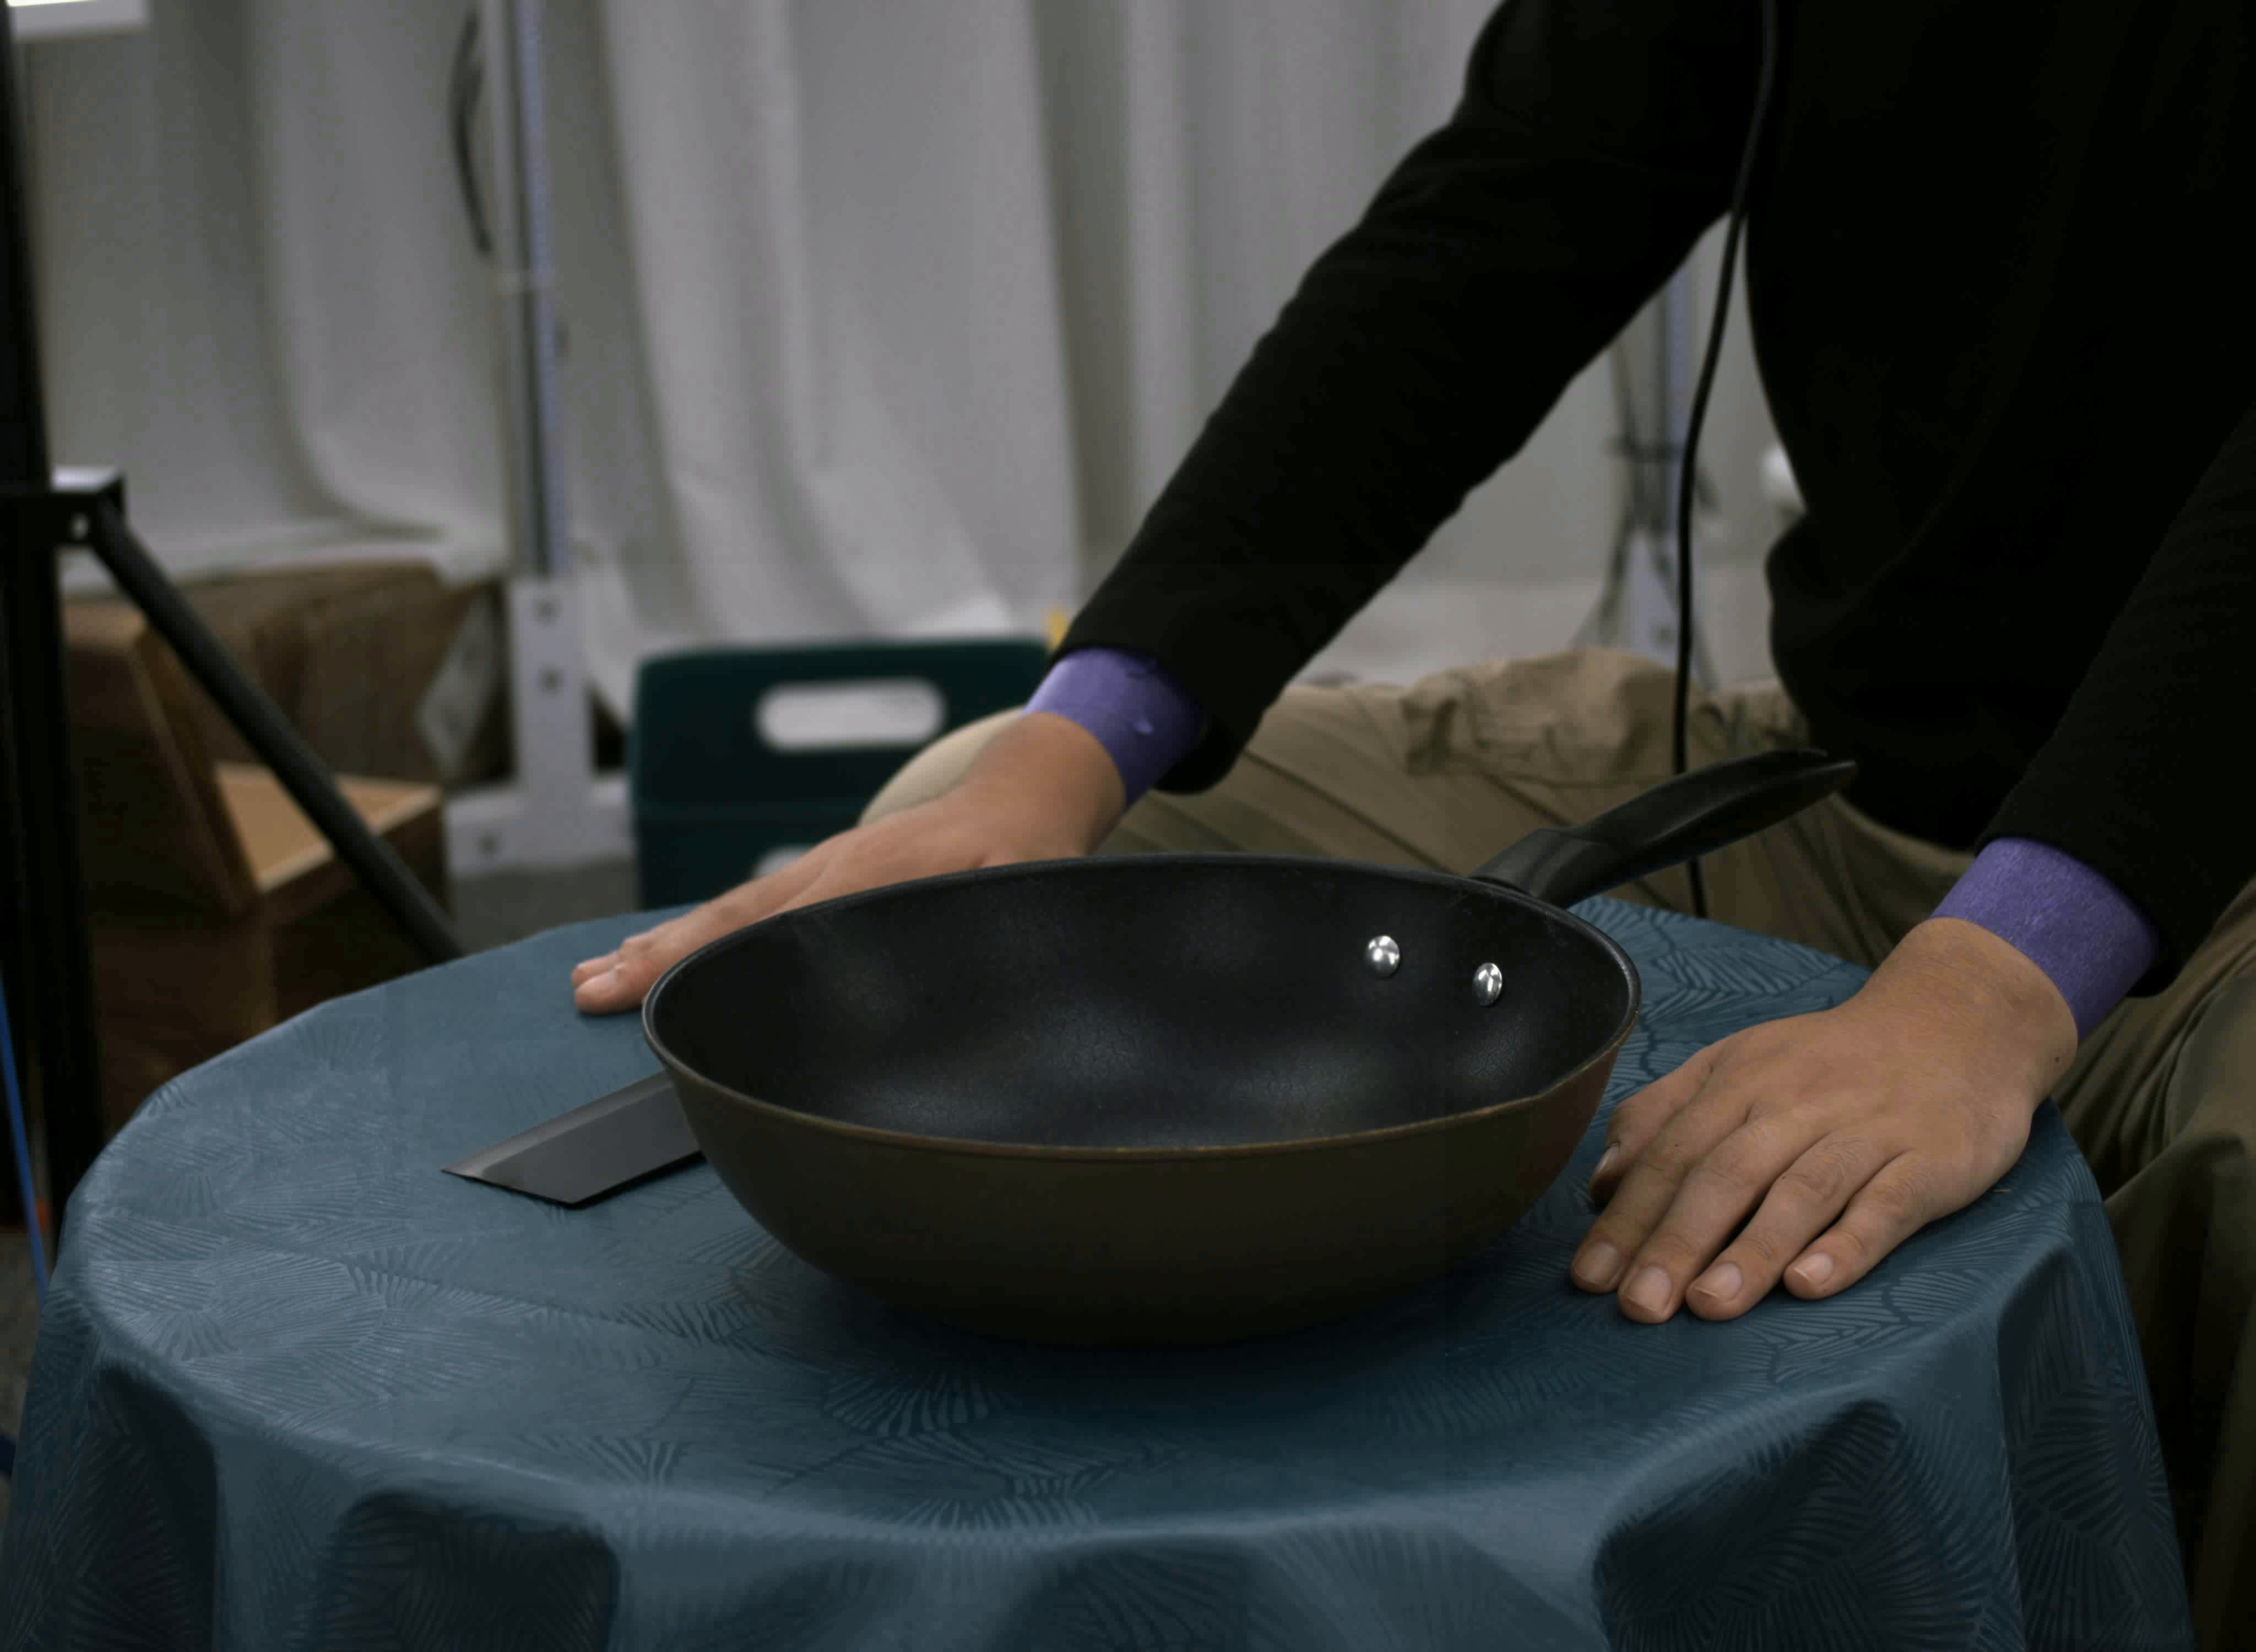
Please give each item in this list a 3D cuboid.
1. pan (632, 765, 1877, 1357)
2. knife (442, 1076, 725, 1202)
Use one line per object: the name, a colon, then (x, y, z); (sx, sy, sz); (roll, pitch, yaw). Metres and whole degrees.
pan: (0.066, 0.064, 1.550); (0.295, 0.087, 0.453); (13, 21, 43)
knife: (-0.085, 0.069, 1.681); (0.295, 0.021, 0.083); (-19, 22, -39)
